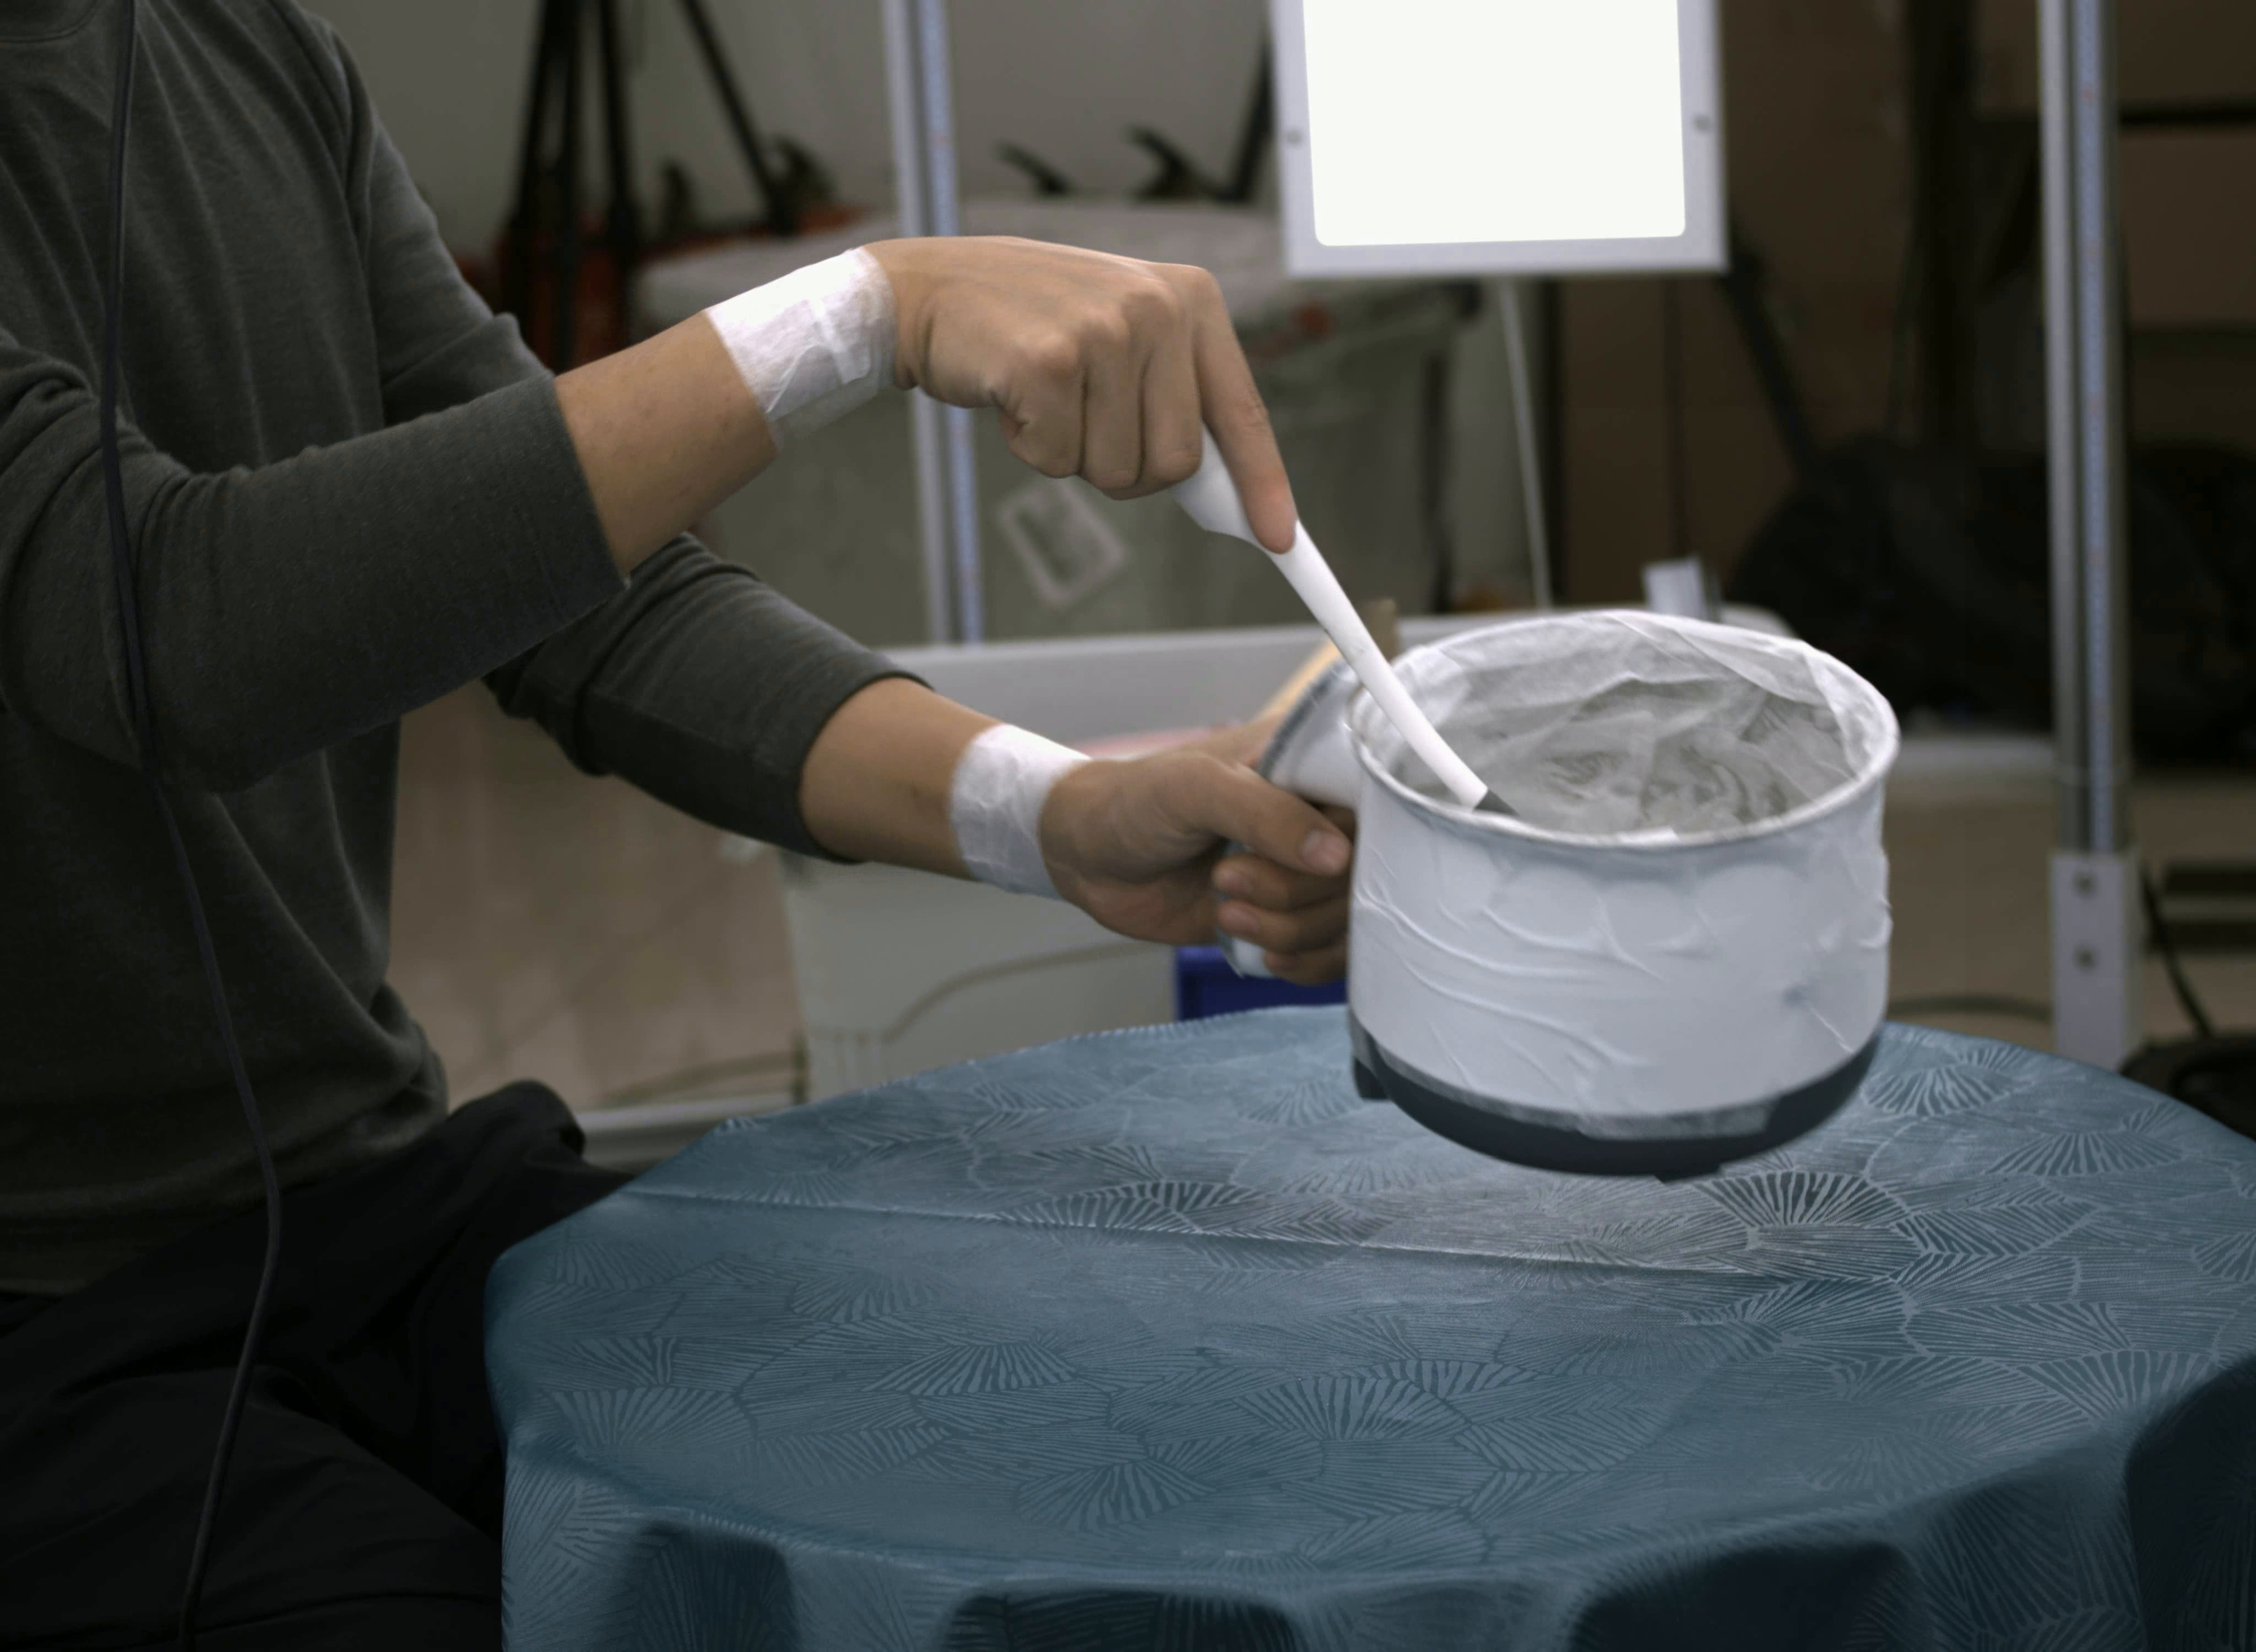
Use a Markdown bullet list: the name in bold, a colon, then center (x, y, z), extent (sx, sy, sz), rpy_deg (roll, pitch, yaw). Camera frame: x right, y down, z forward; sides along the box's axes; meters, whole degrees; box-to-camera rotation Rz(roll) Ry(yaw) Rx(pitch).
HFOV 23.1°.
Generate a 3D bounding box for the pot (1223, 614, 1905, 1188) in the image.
- **pot**: center (0.138, 0.020, 1.804), extent (0.237, 0.137, 0.175), rpy_deg (11, 29, 26)

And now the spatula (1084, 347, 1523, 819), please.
- **spatula**: center (0.096, -0.040, 1.761), extent (0.032, 0.287, 0.058), rpy_deg (-43, 5, 16)
